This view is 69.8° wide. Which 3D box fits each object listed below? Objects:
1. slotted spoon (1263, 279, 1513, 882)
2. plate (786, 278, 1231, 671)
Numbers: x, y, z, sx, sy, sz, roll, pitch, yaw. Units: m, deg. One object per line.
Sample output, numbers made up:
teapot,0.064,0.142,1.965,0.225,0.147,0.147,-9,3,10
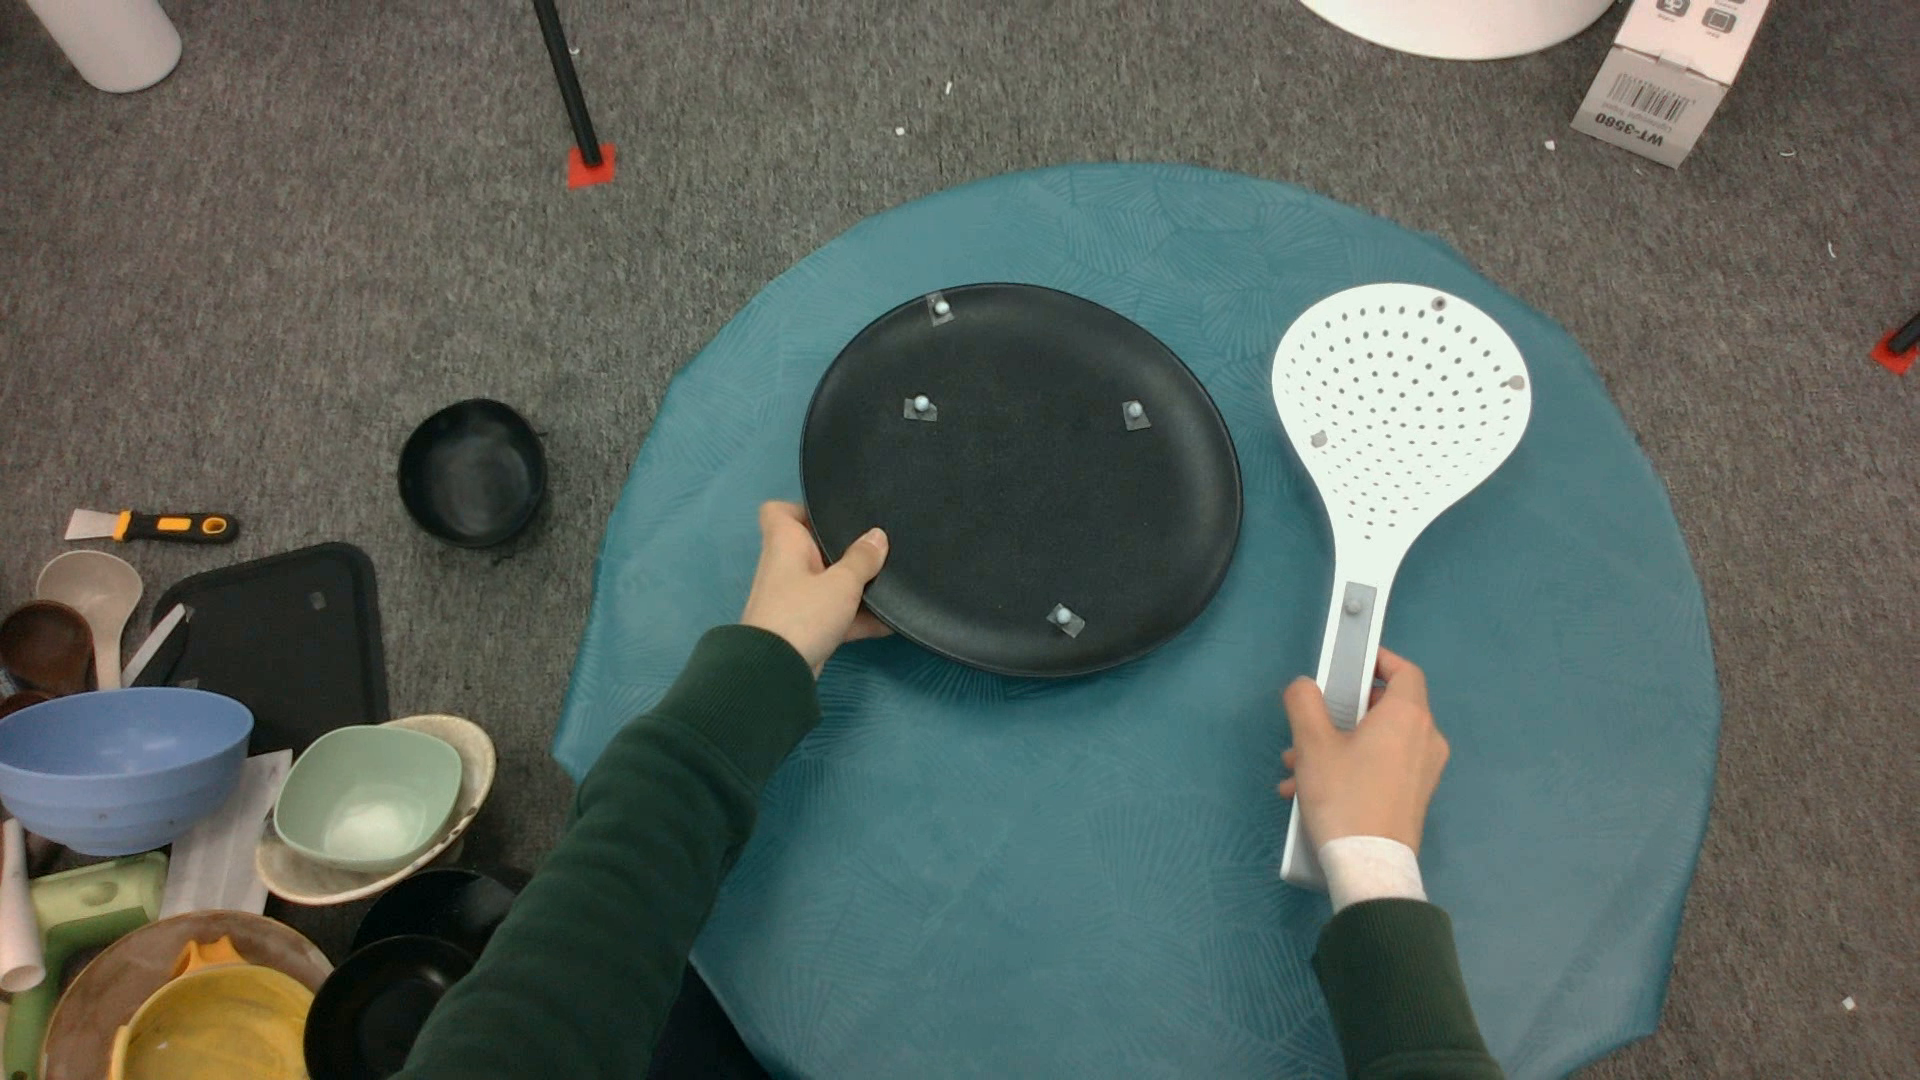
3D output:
slotted spoon,0.205,0.007,0.715,0.136,0.045,0.351,14,59,9
plate,0.027,-0.039,0.747,0.244,0.023,0.245,5,61,-9
